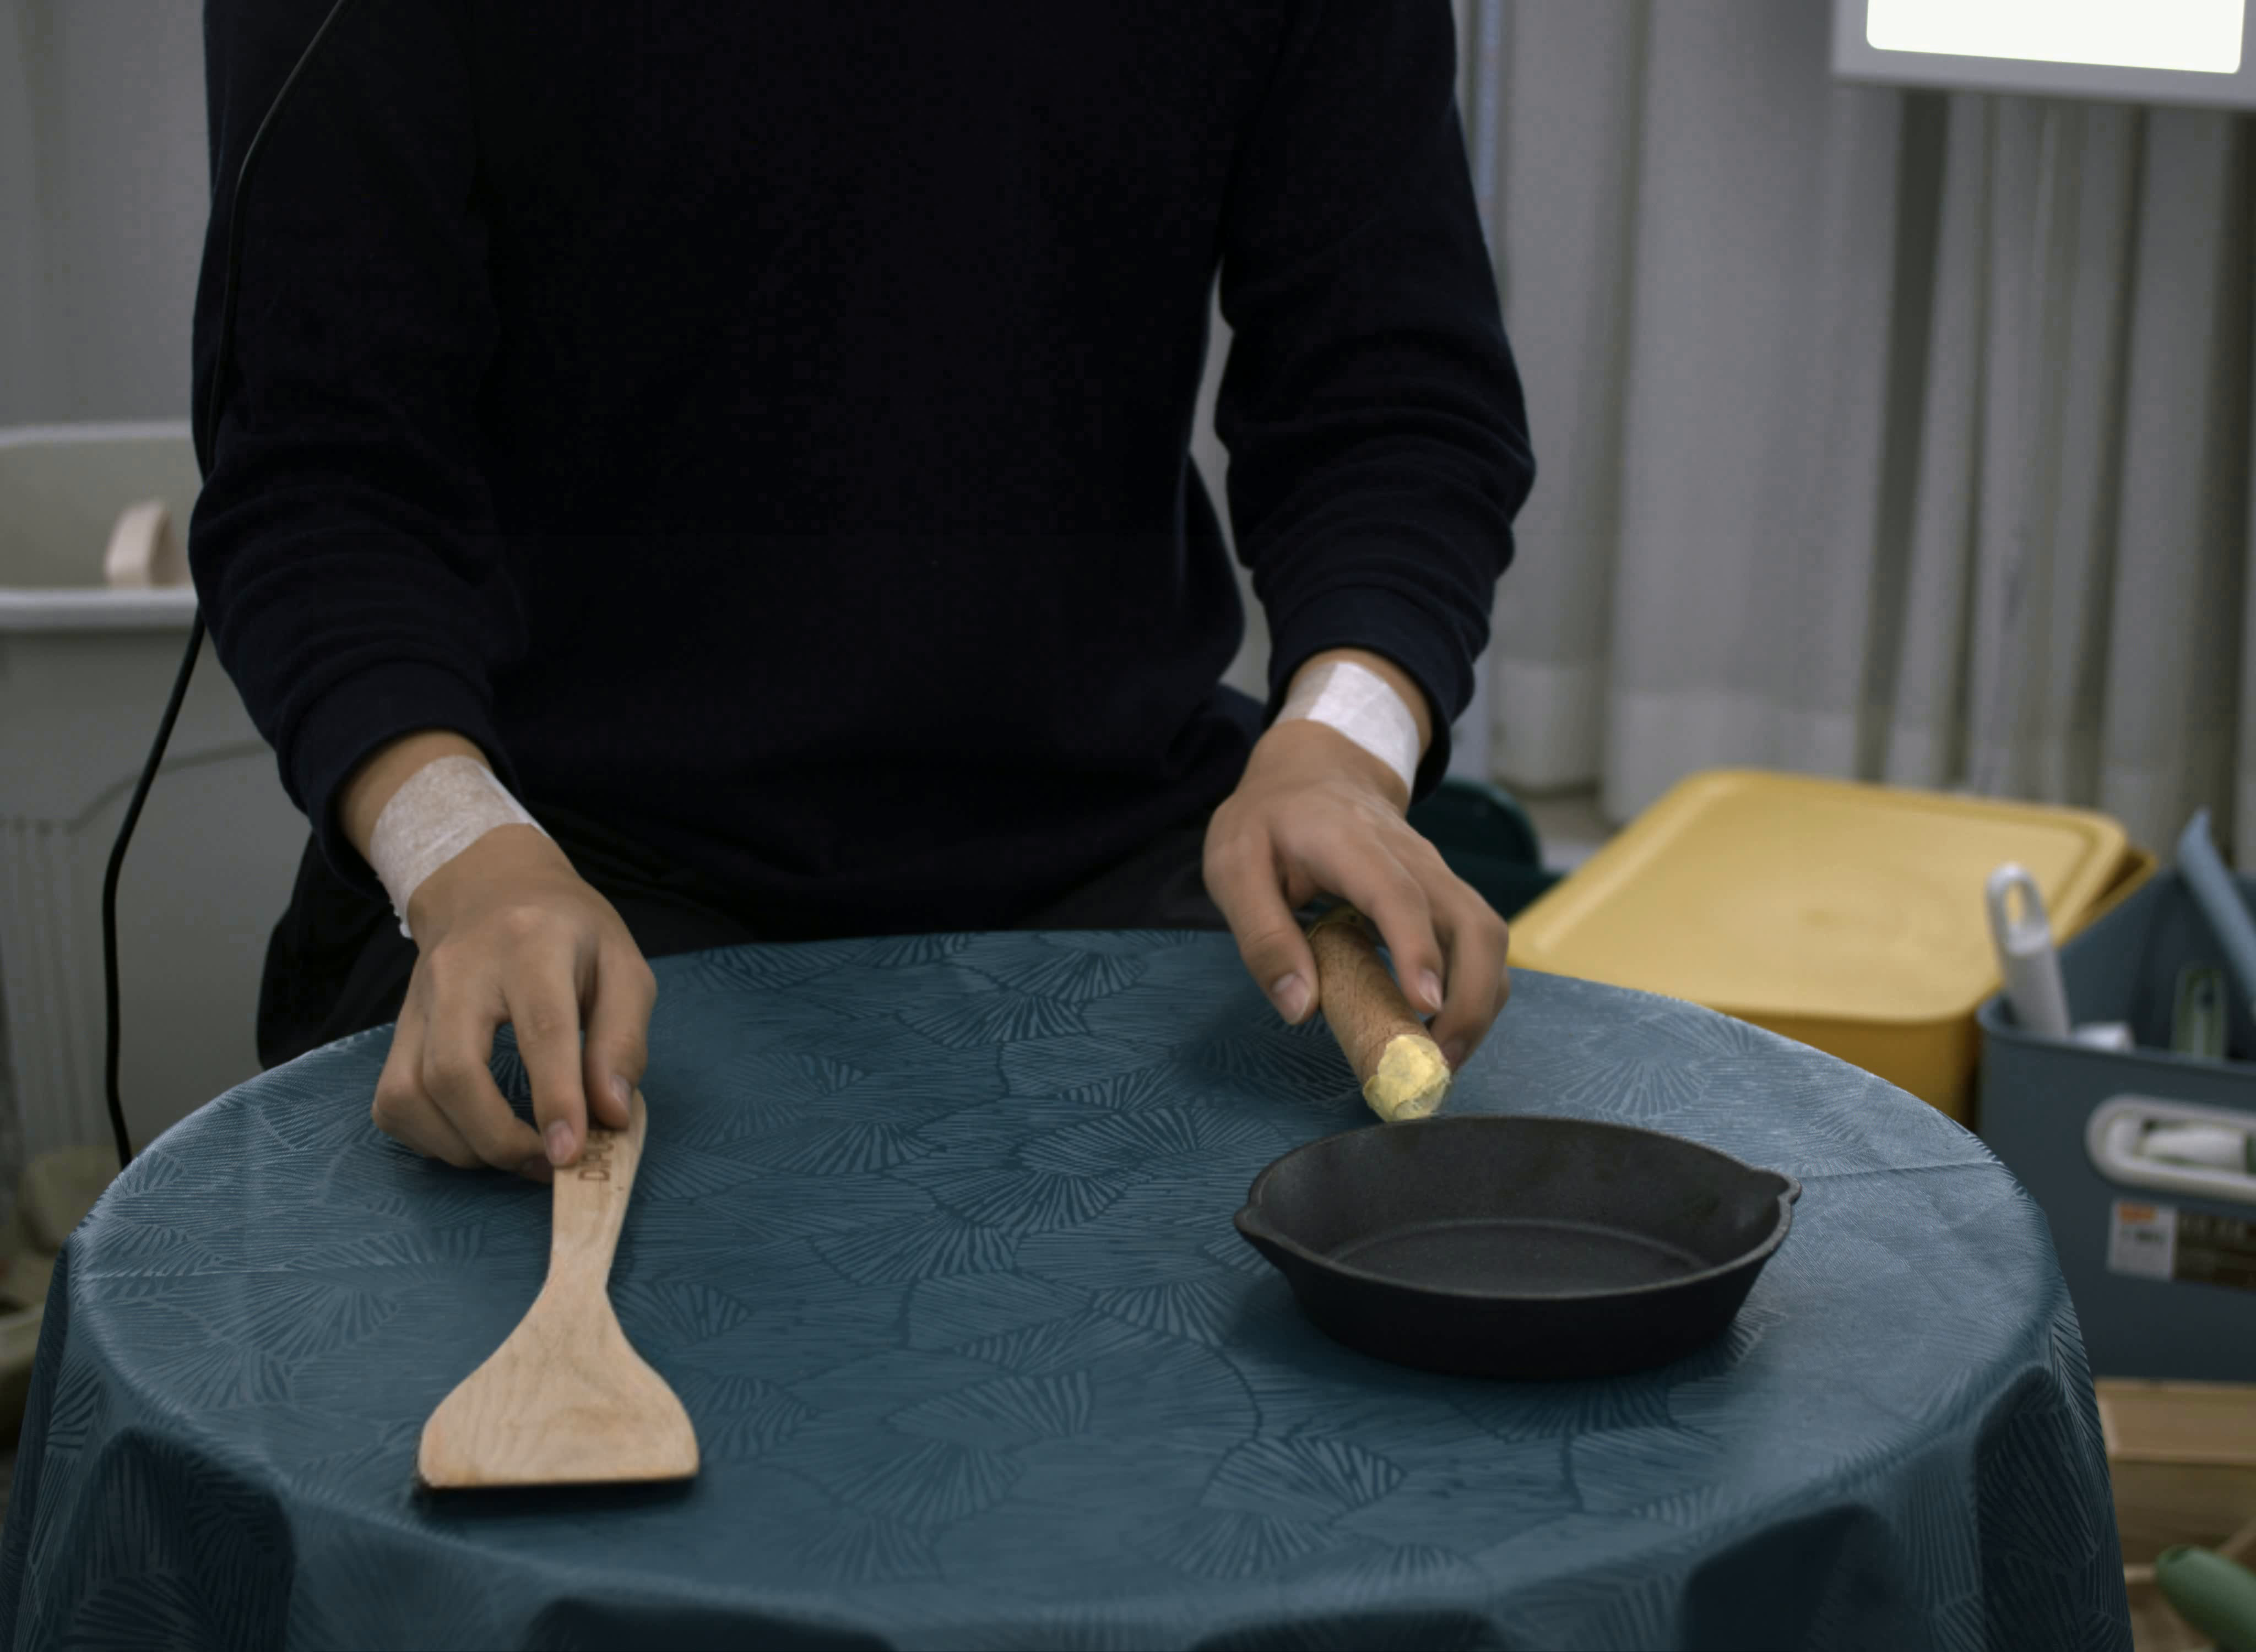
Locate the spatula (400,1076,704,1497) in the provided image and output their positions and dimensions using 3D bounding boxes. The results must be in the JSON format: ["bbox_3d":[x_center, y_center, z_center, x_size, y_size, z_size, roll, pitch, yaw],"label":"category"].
[{"bbox_3d":[-0.158,0.129,1.519,0.080,0.016,0.325,2,18,-4],"label":"spatula"}]

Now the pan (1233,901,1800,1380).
[{"bbox_3d":[0.098,0.092,1.603,0.169,0.050,0.321,-2,17,-10],"label":"pan"}]
